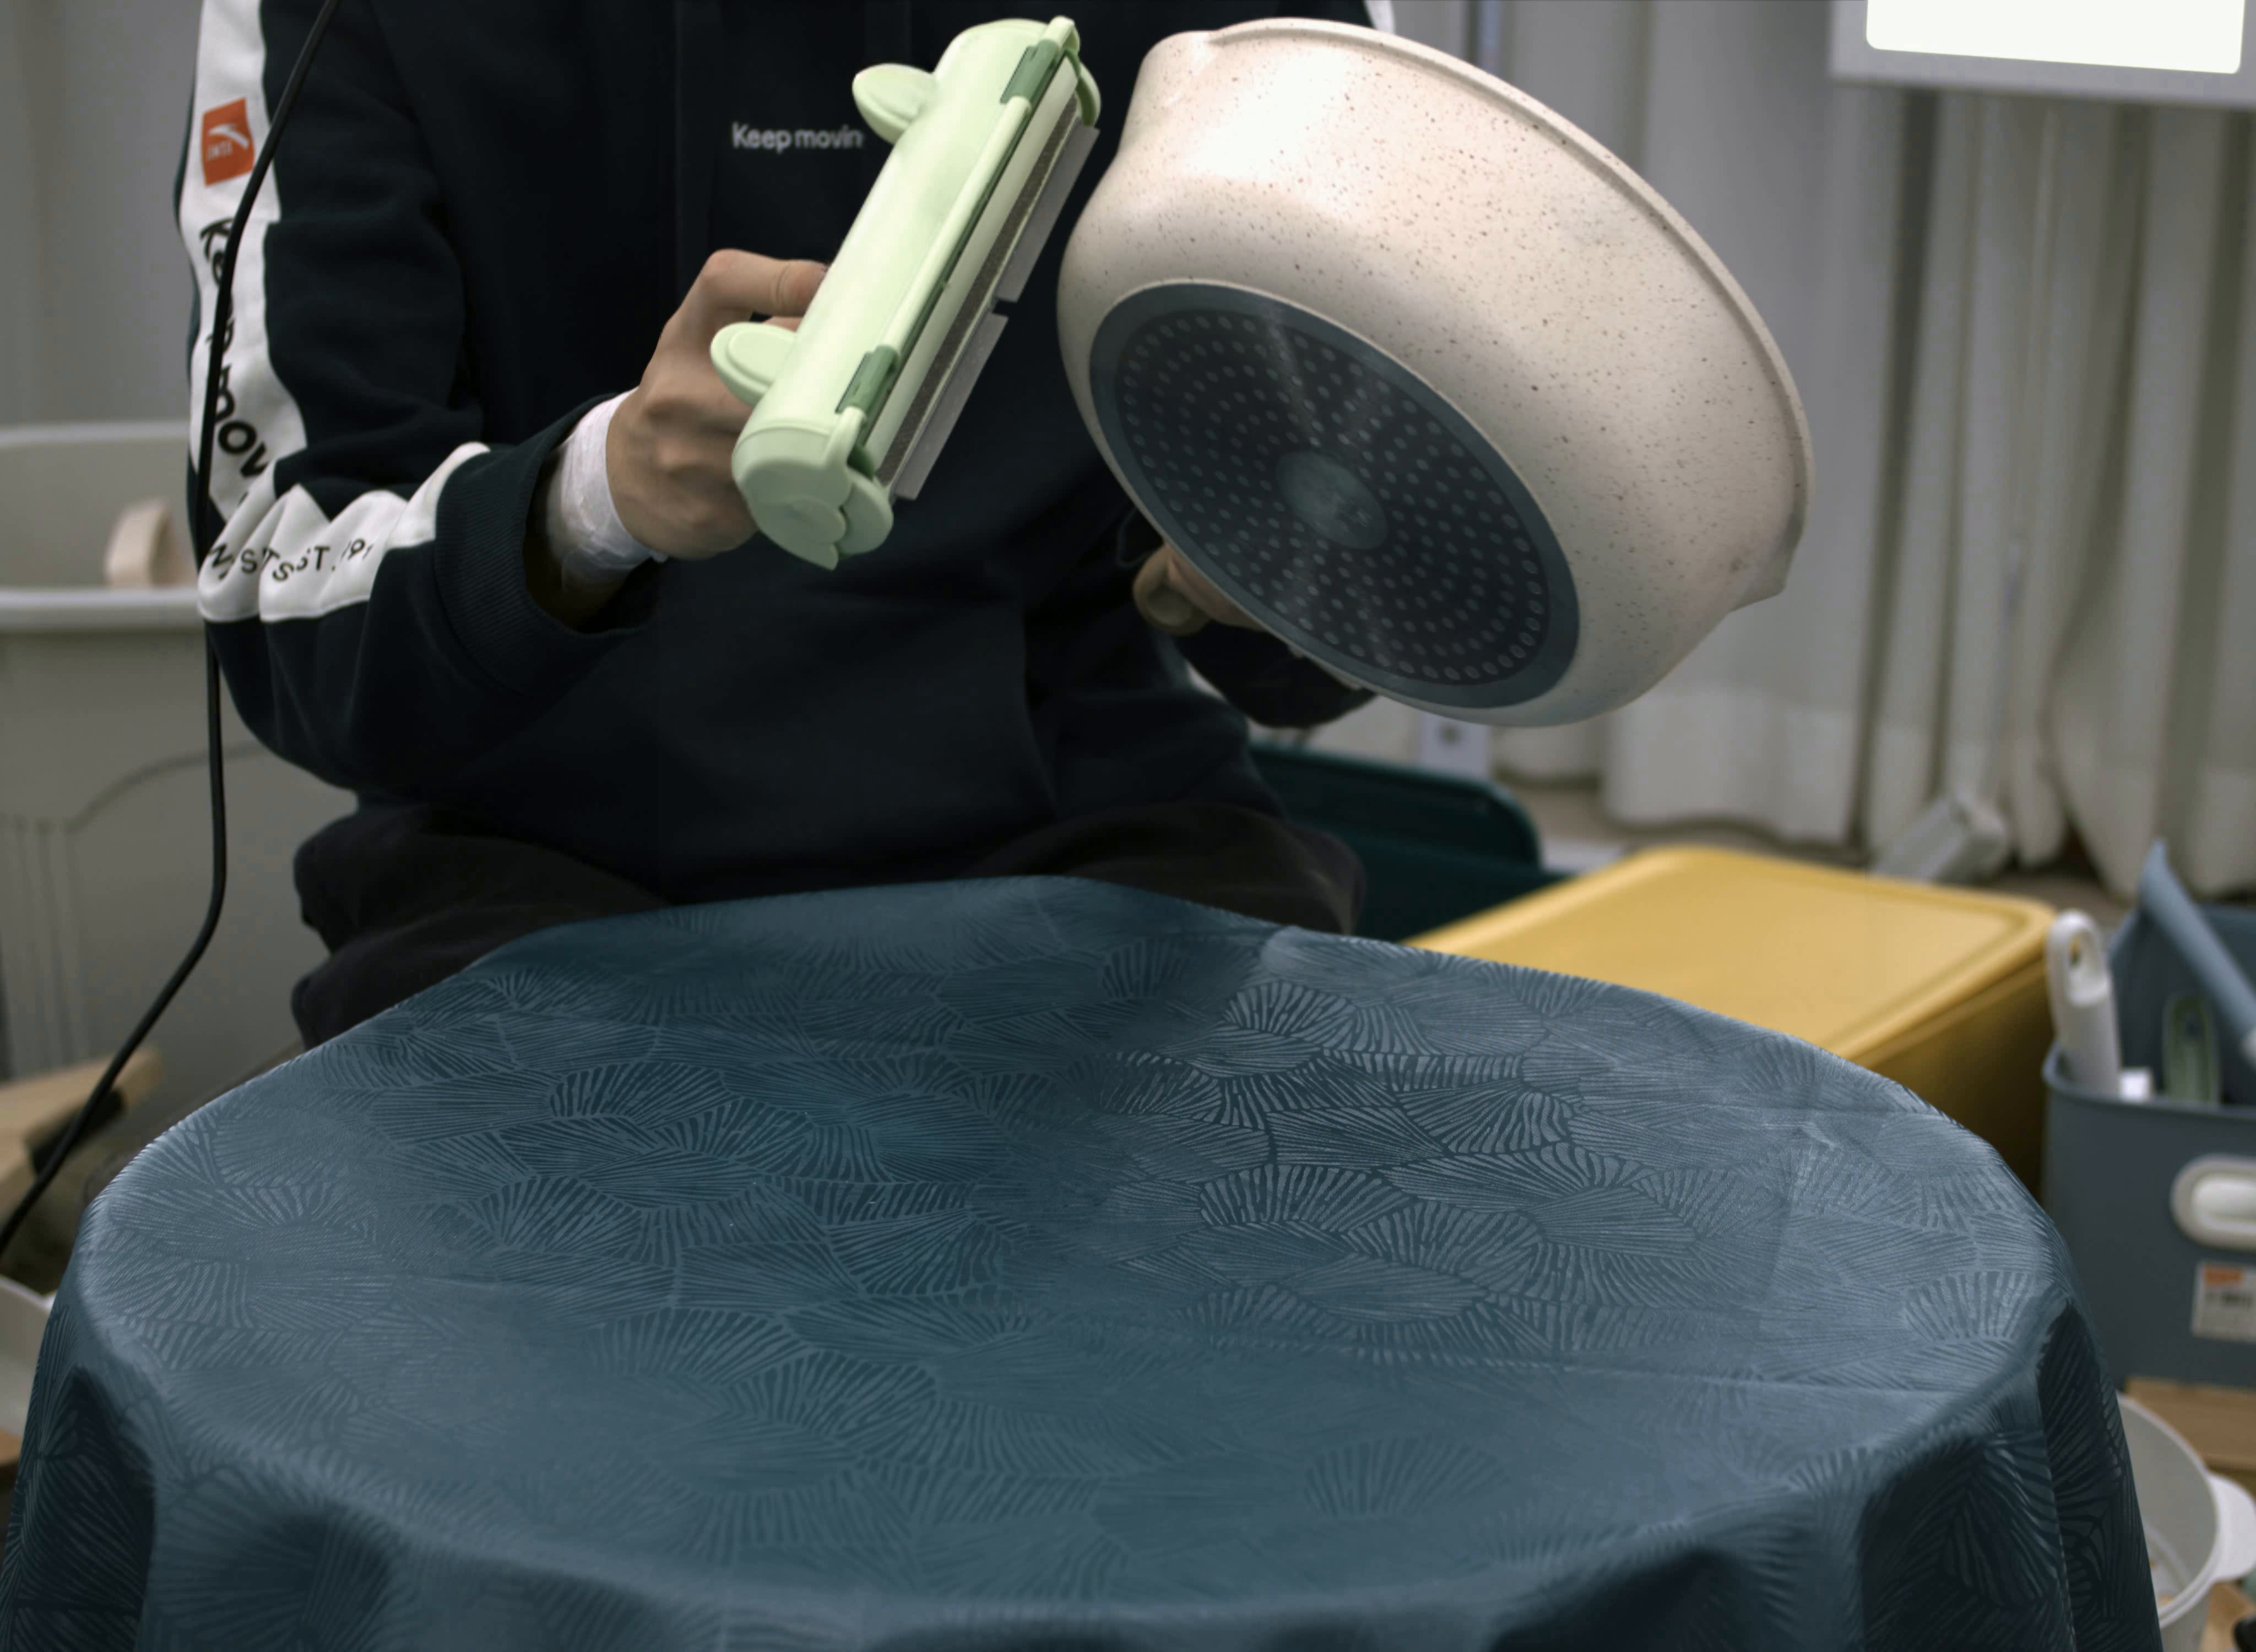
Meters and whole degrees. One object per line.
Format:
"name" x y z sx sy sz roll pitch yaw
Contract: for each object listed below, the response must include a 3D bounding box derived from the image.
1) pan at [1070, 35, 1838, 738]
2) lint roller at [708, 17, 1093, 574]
"pan" 0.064 -0.105 1.727 0.264 0.102 0.434 37 -25 -7
"lint roller" -0.103 -0.157 1.677 0.182 0.083 0.198 -25 34 49
